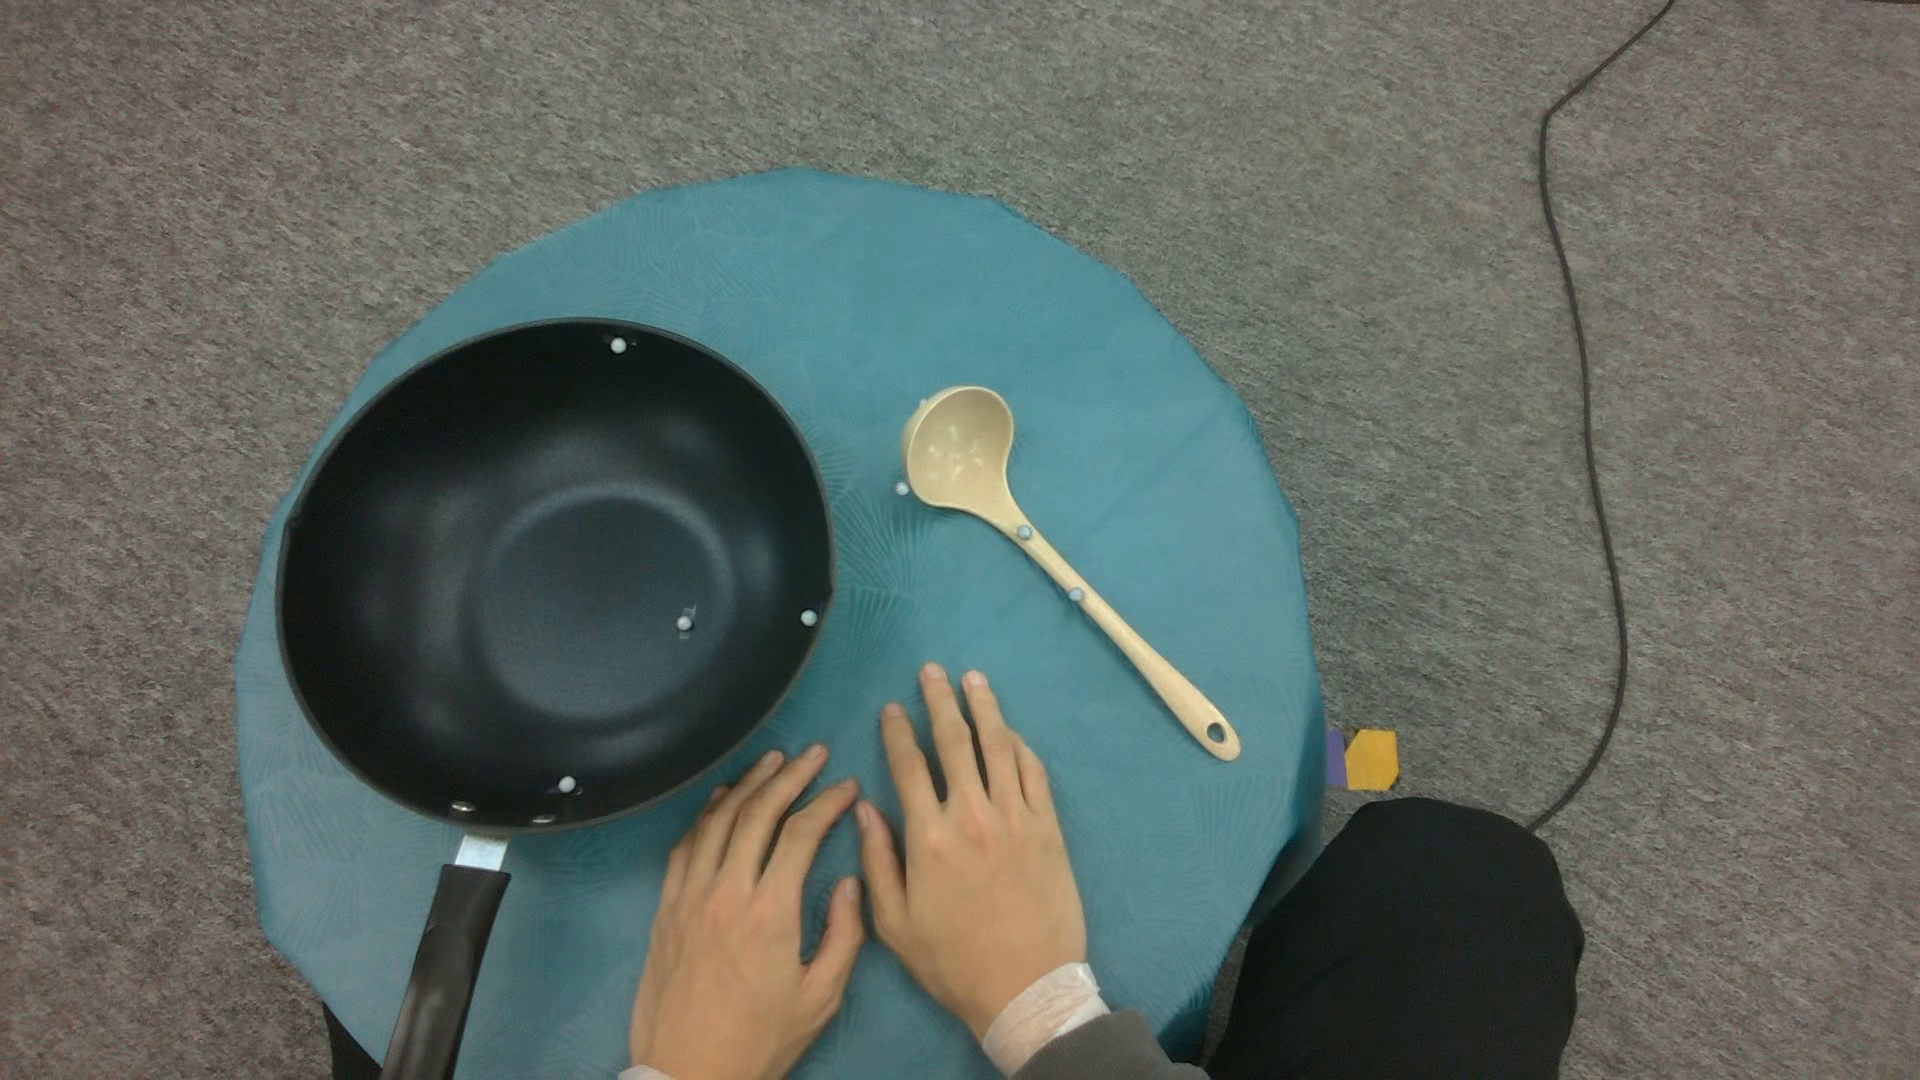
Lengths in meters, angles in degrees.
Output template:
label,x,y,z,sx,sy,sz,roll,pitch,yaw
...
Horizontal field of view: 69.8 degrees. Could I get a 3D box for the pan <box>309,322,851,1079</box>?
label,x,y,z,sx,sy,sz,roll,pitch,yaw
pan,-0.213,0.109,0.722,0.288,0.086,0.465,8,70,5

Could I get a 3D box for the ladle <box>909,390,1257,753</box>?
label,x,y,z,sx,sy,sz,roll,pitch,yaw
ladle,0.072,0.016,0.755,0.072,0.072,0.254,-41,72,-15
